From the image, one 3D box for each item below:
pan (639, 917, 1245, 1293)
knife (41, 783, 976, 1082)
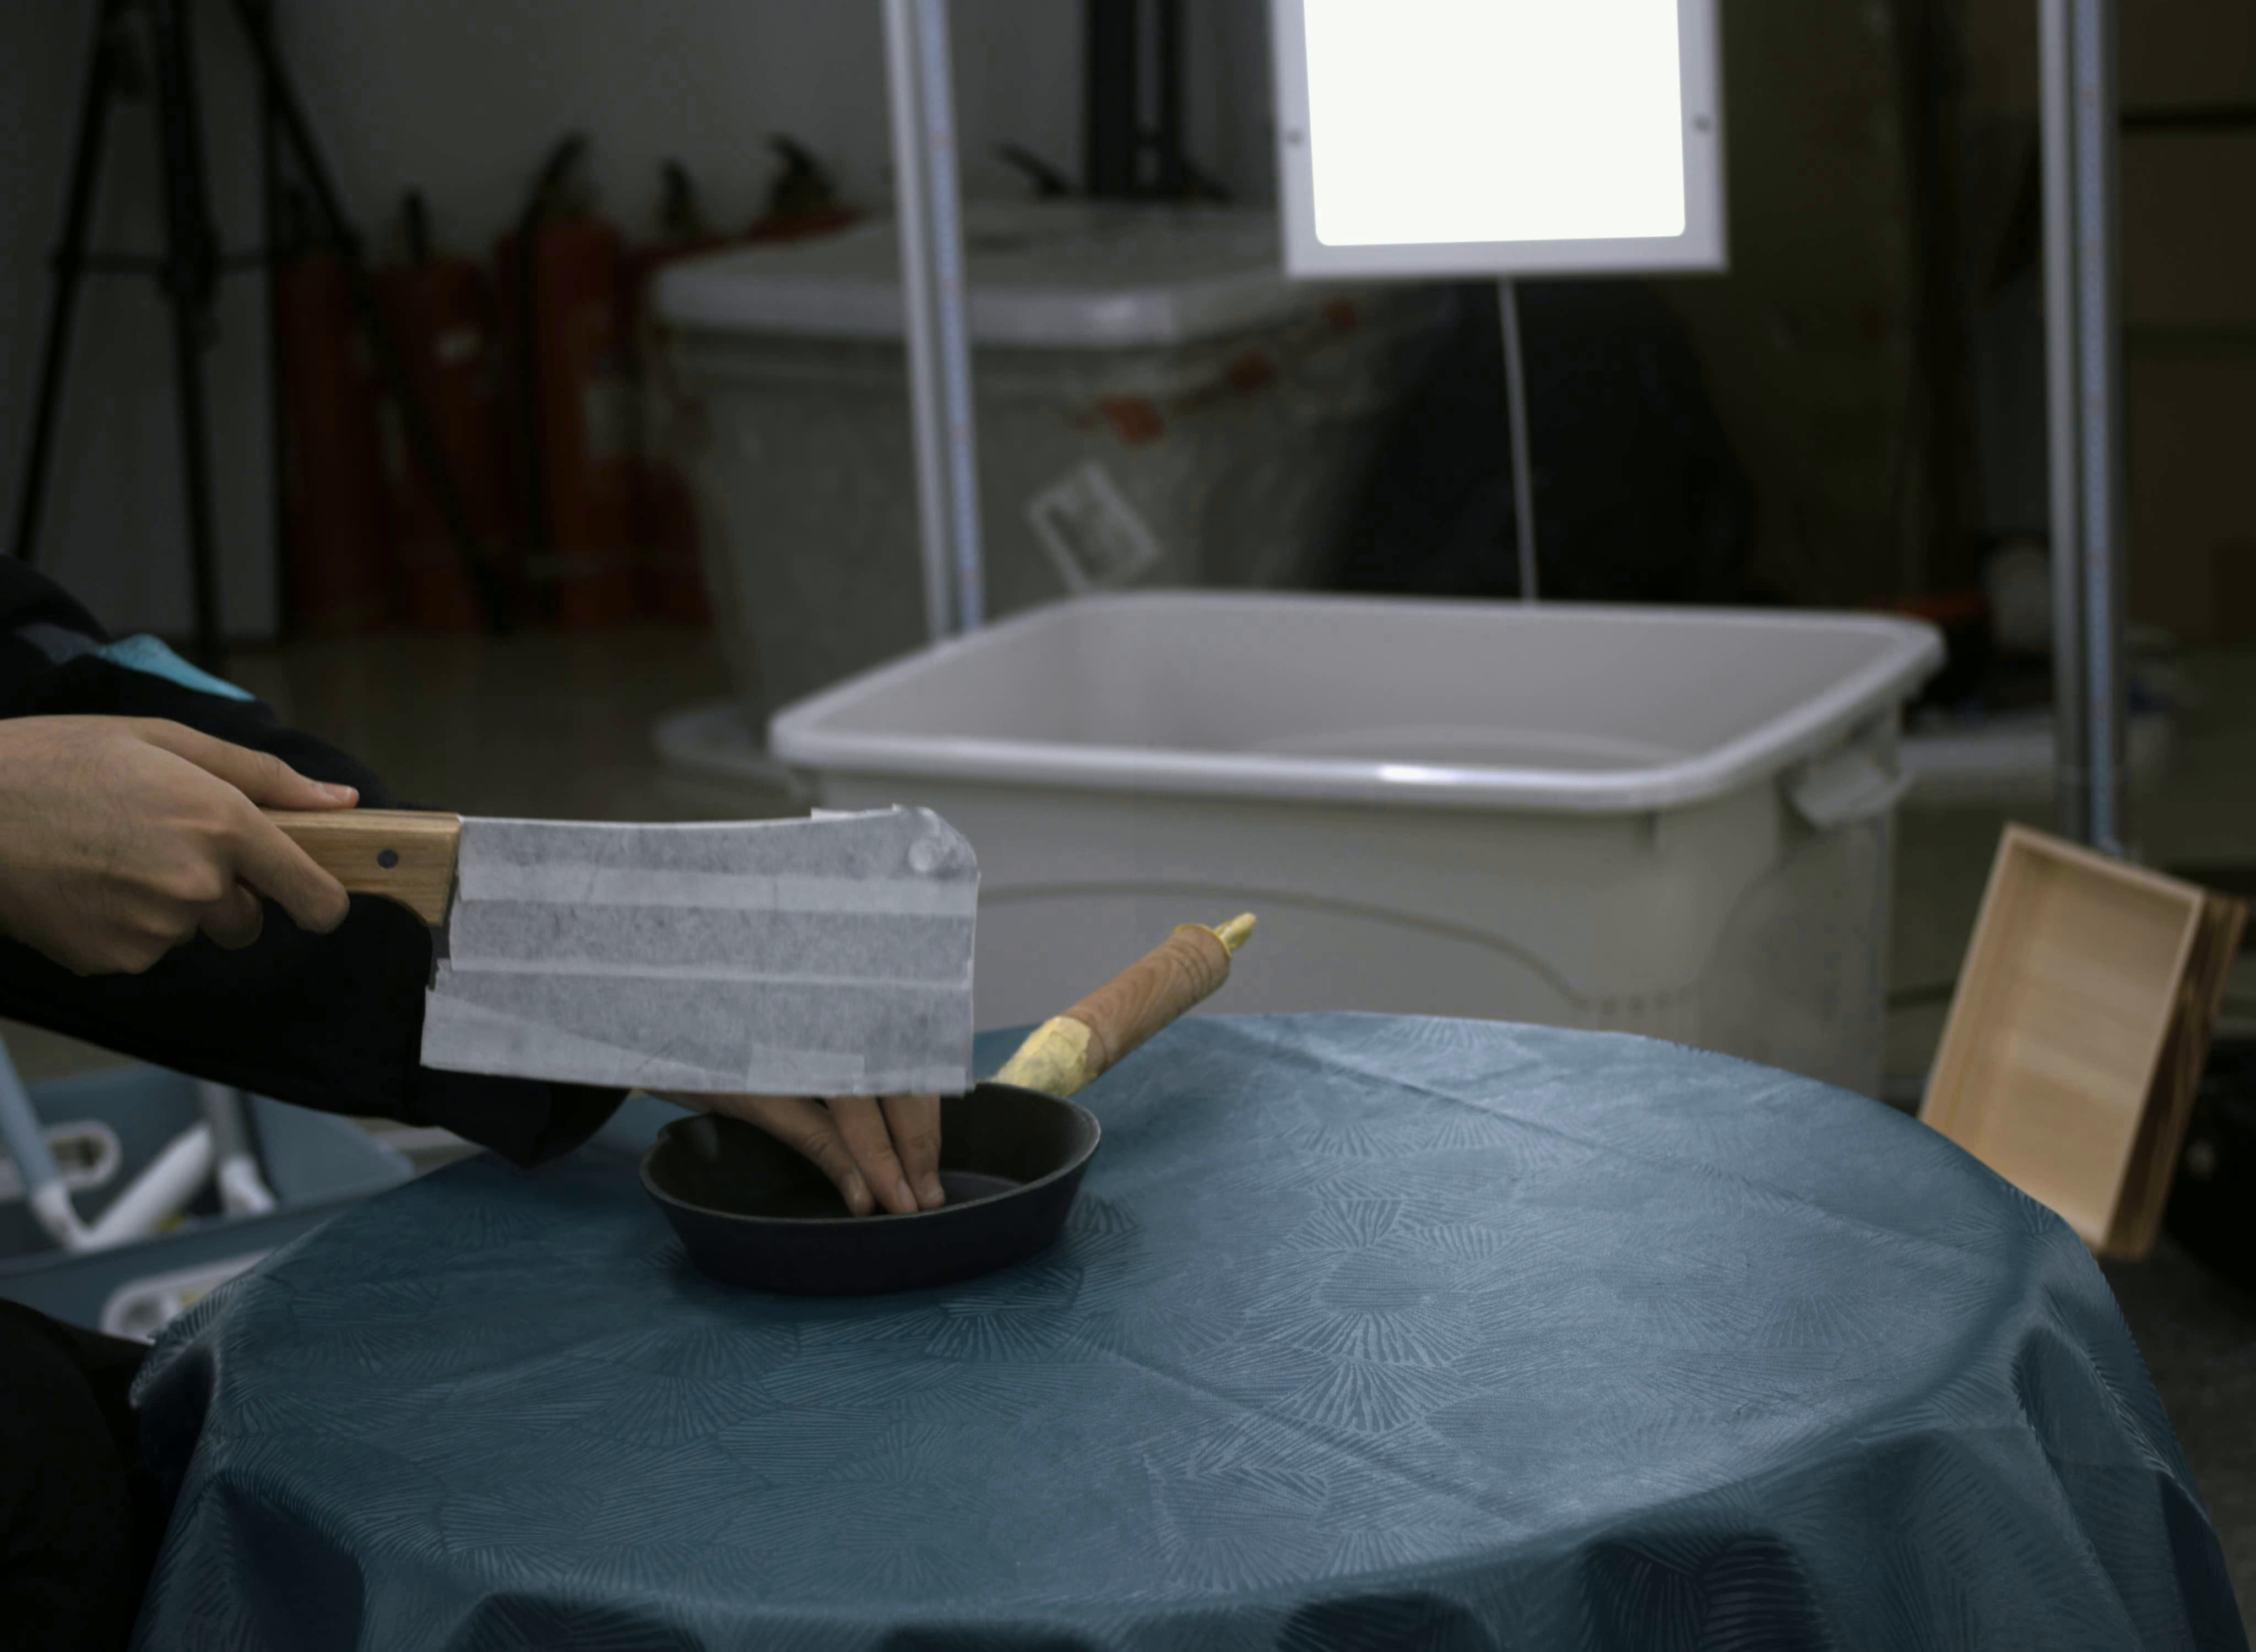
[{"bbox_3d":[-0.042,0.096,1.933,0.172,0.050,0.316,3,17,34],"label":"pan"},{"bbox_3d":[-0.198,0.028,1.811,0.312,0.114,0.022,6,14,-11],"label":"knife"}]
